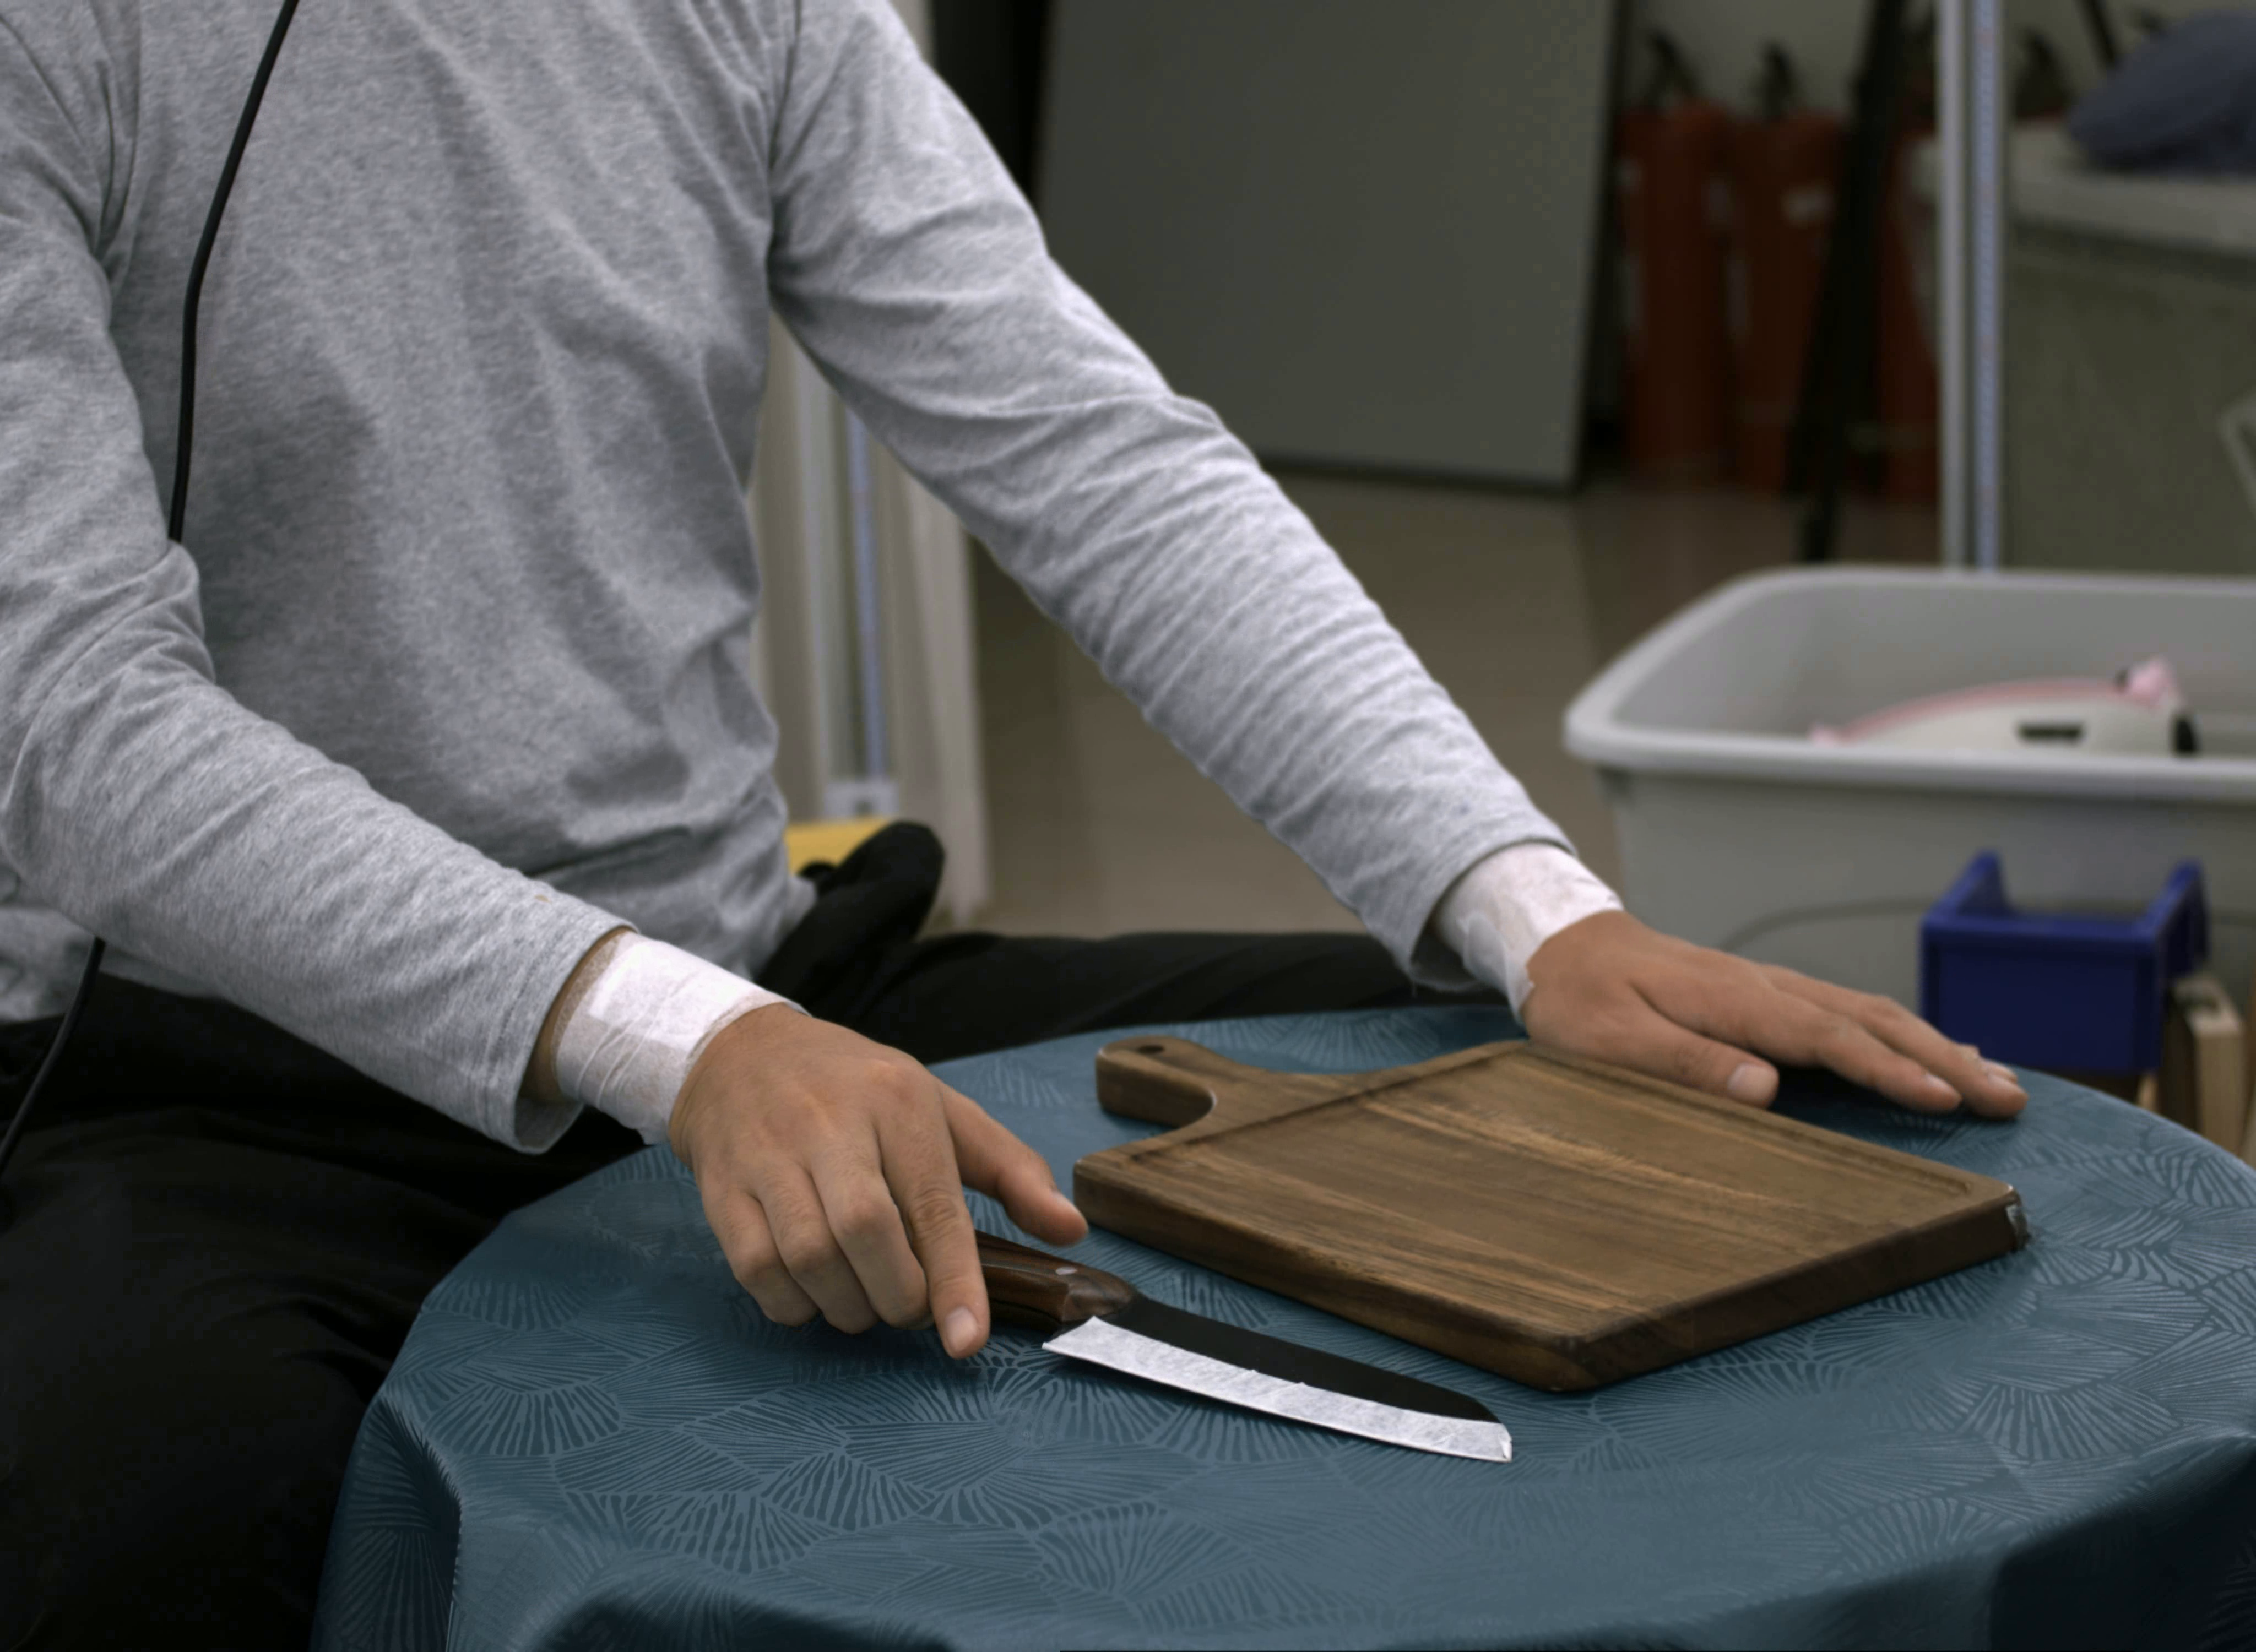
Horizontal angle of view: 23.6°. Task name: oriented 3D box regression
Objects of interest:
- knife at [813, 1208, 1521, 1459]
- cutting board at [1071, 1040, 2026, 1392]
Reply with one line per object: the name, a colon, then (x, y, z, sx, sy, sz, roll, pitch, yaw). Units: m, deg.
knife: (0.007, 0.153, 1.610, 0.292, 0.020, 0.049, 13, 24, 43)
cutting board: (0.101, 0.112, 1.742, 0.196, 0.023, 0.356, -13, 16, -34)
